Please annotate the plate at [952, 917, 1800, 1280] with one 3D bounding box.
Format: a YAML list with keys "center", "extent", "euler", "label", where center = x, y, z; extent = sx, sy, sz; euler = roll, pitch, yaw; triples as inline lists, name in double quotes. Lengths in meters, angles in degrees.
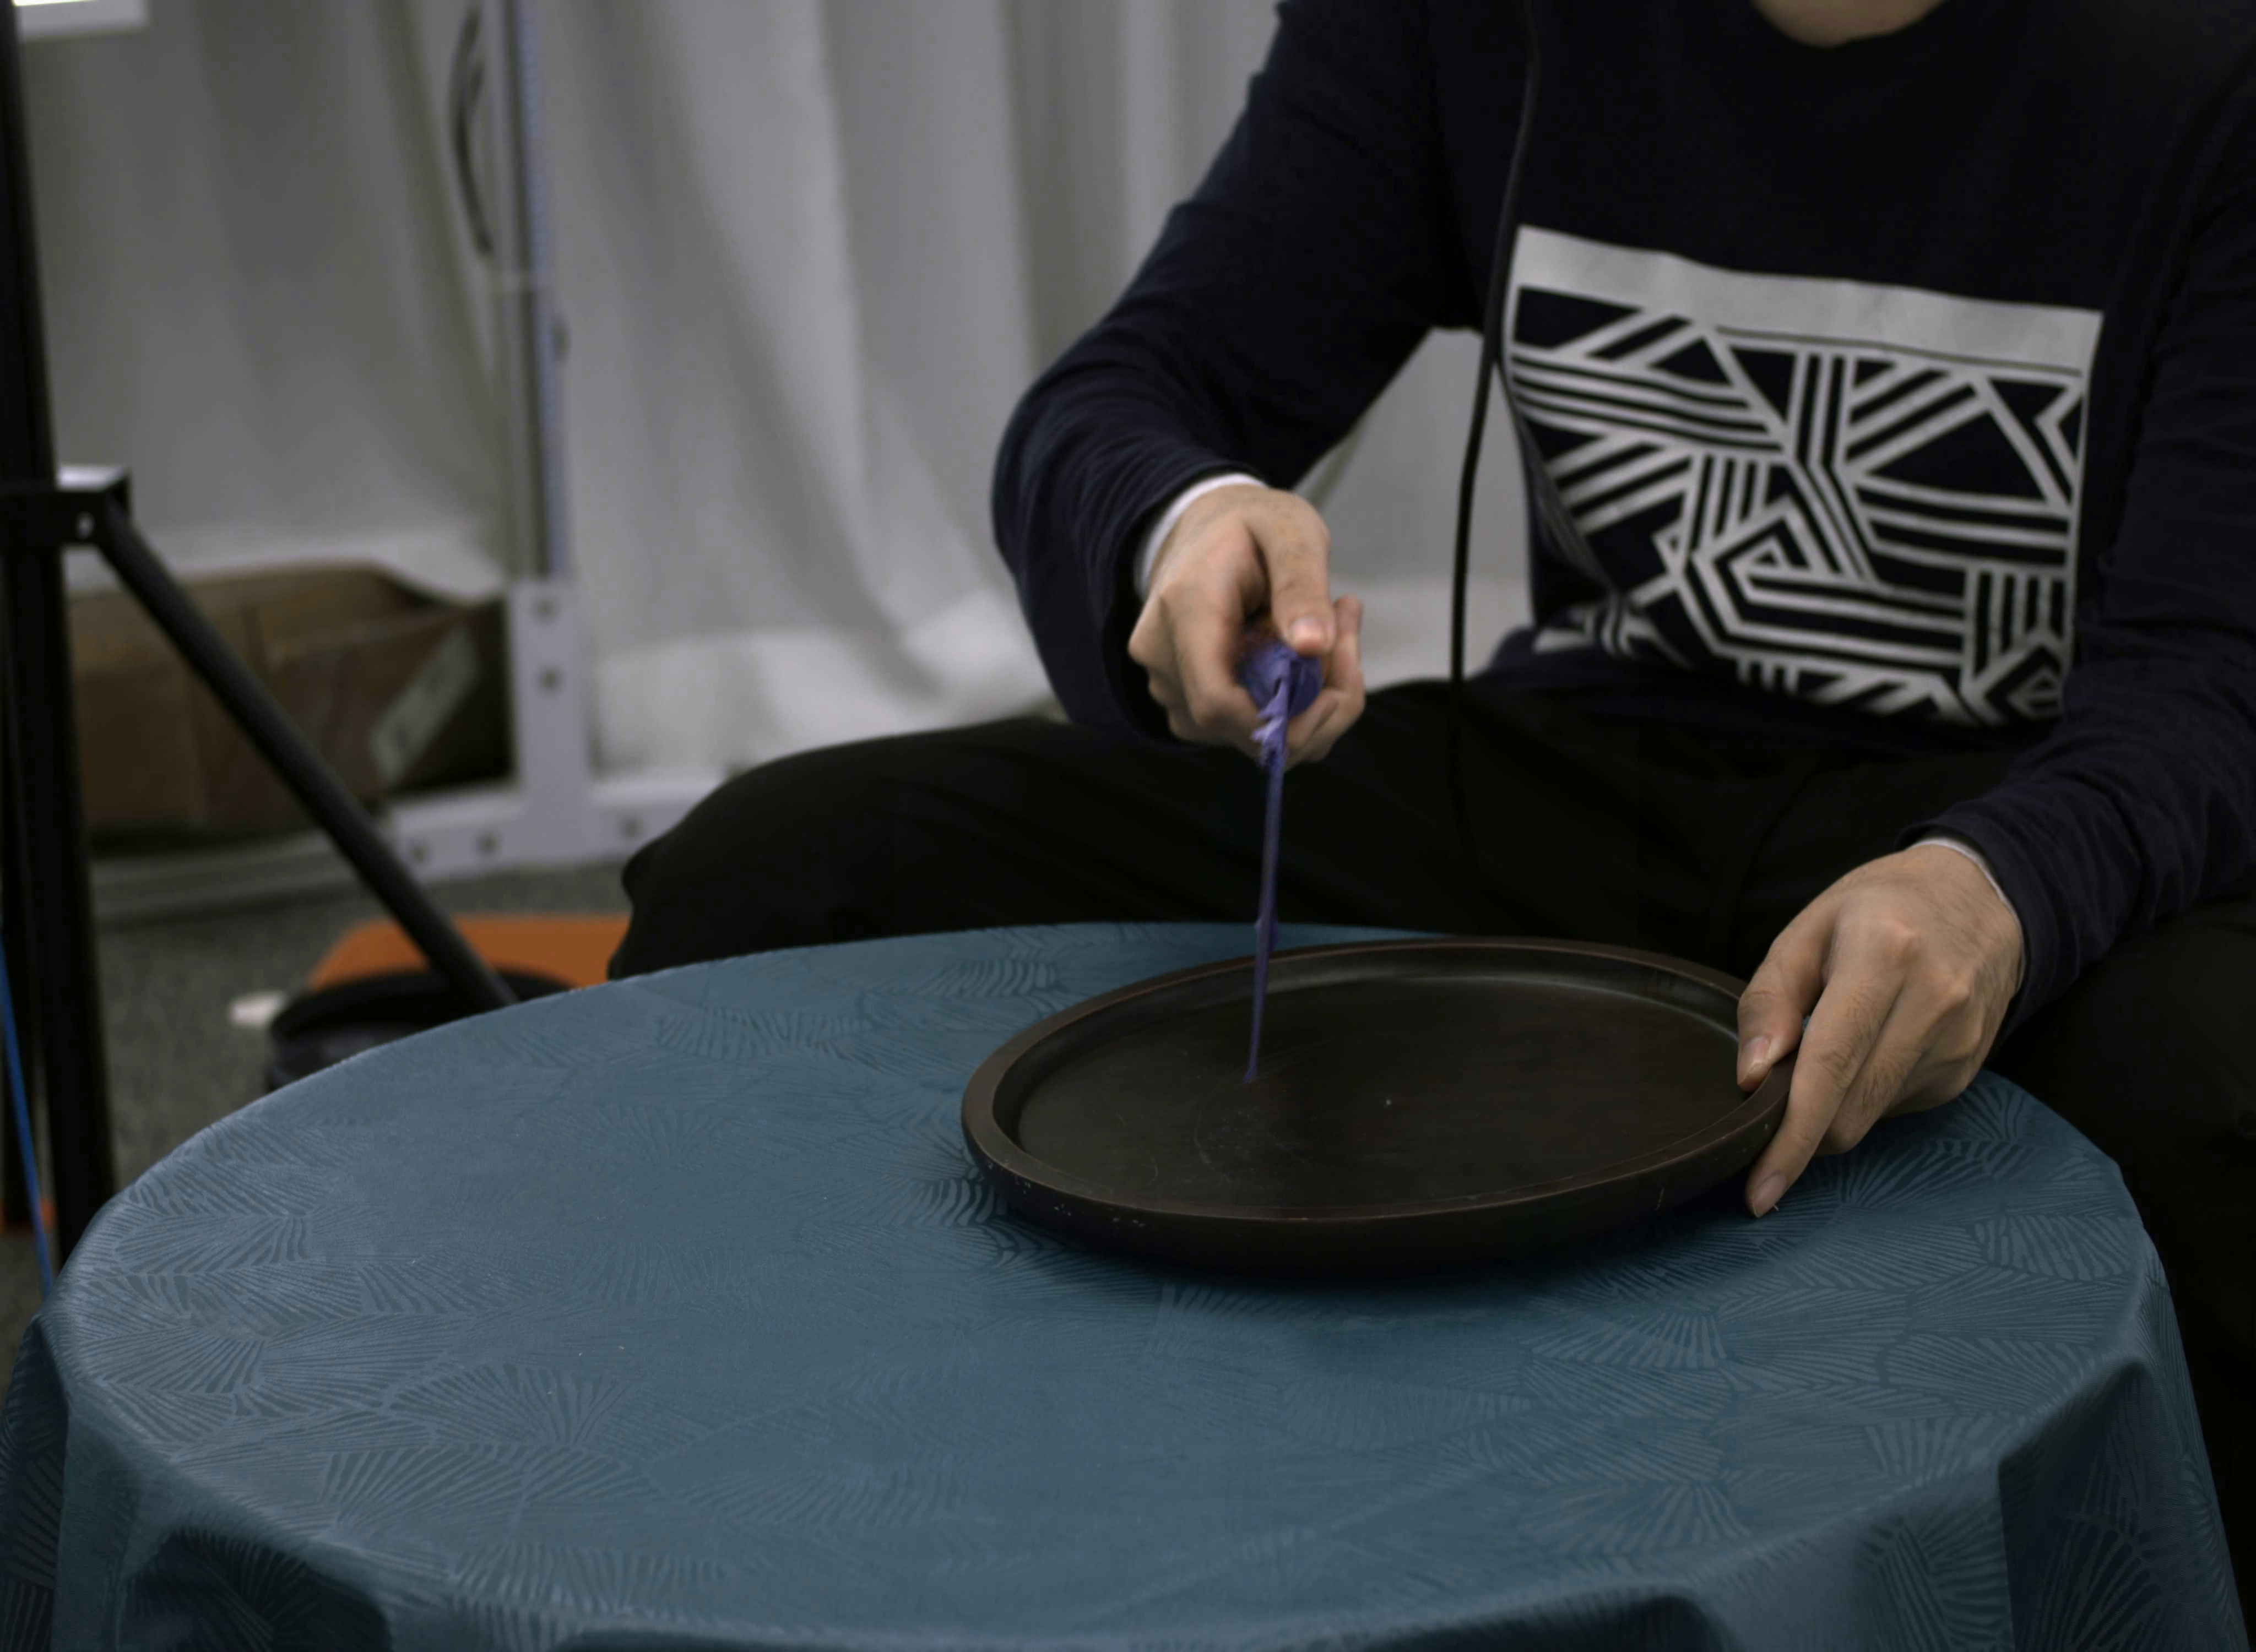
- center: [0.074, 0.082, 1.579]
  extent: [0.254, 0.029, 0.256]
  euler: [-6, 17, 0]
  label: "plate"

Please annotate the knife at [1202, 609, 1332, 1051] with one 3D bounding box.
- center: [0.039, -0.001, 1.617]
  extent: [0.032, 0.104, 0.314]
  euler: [6, 11, 3]
  label: "knife"
